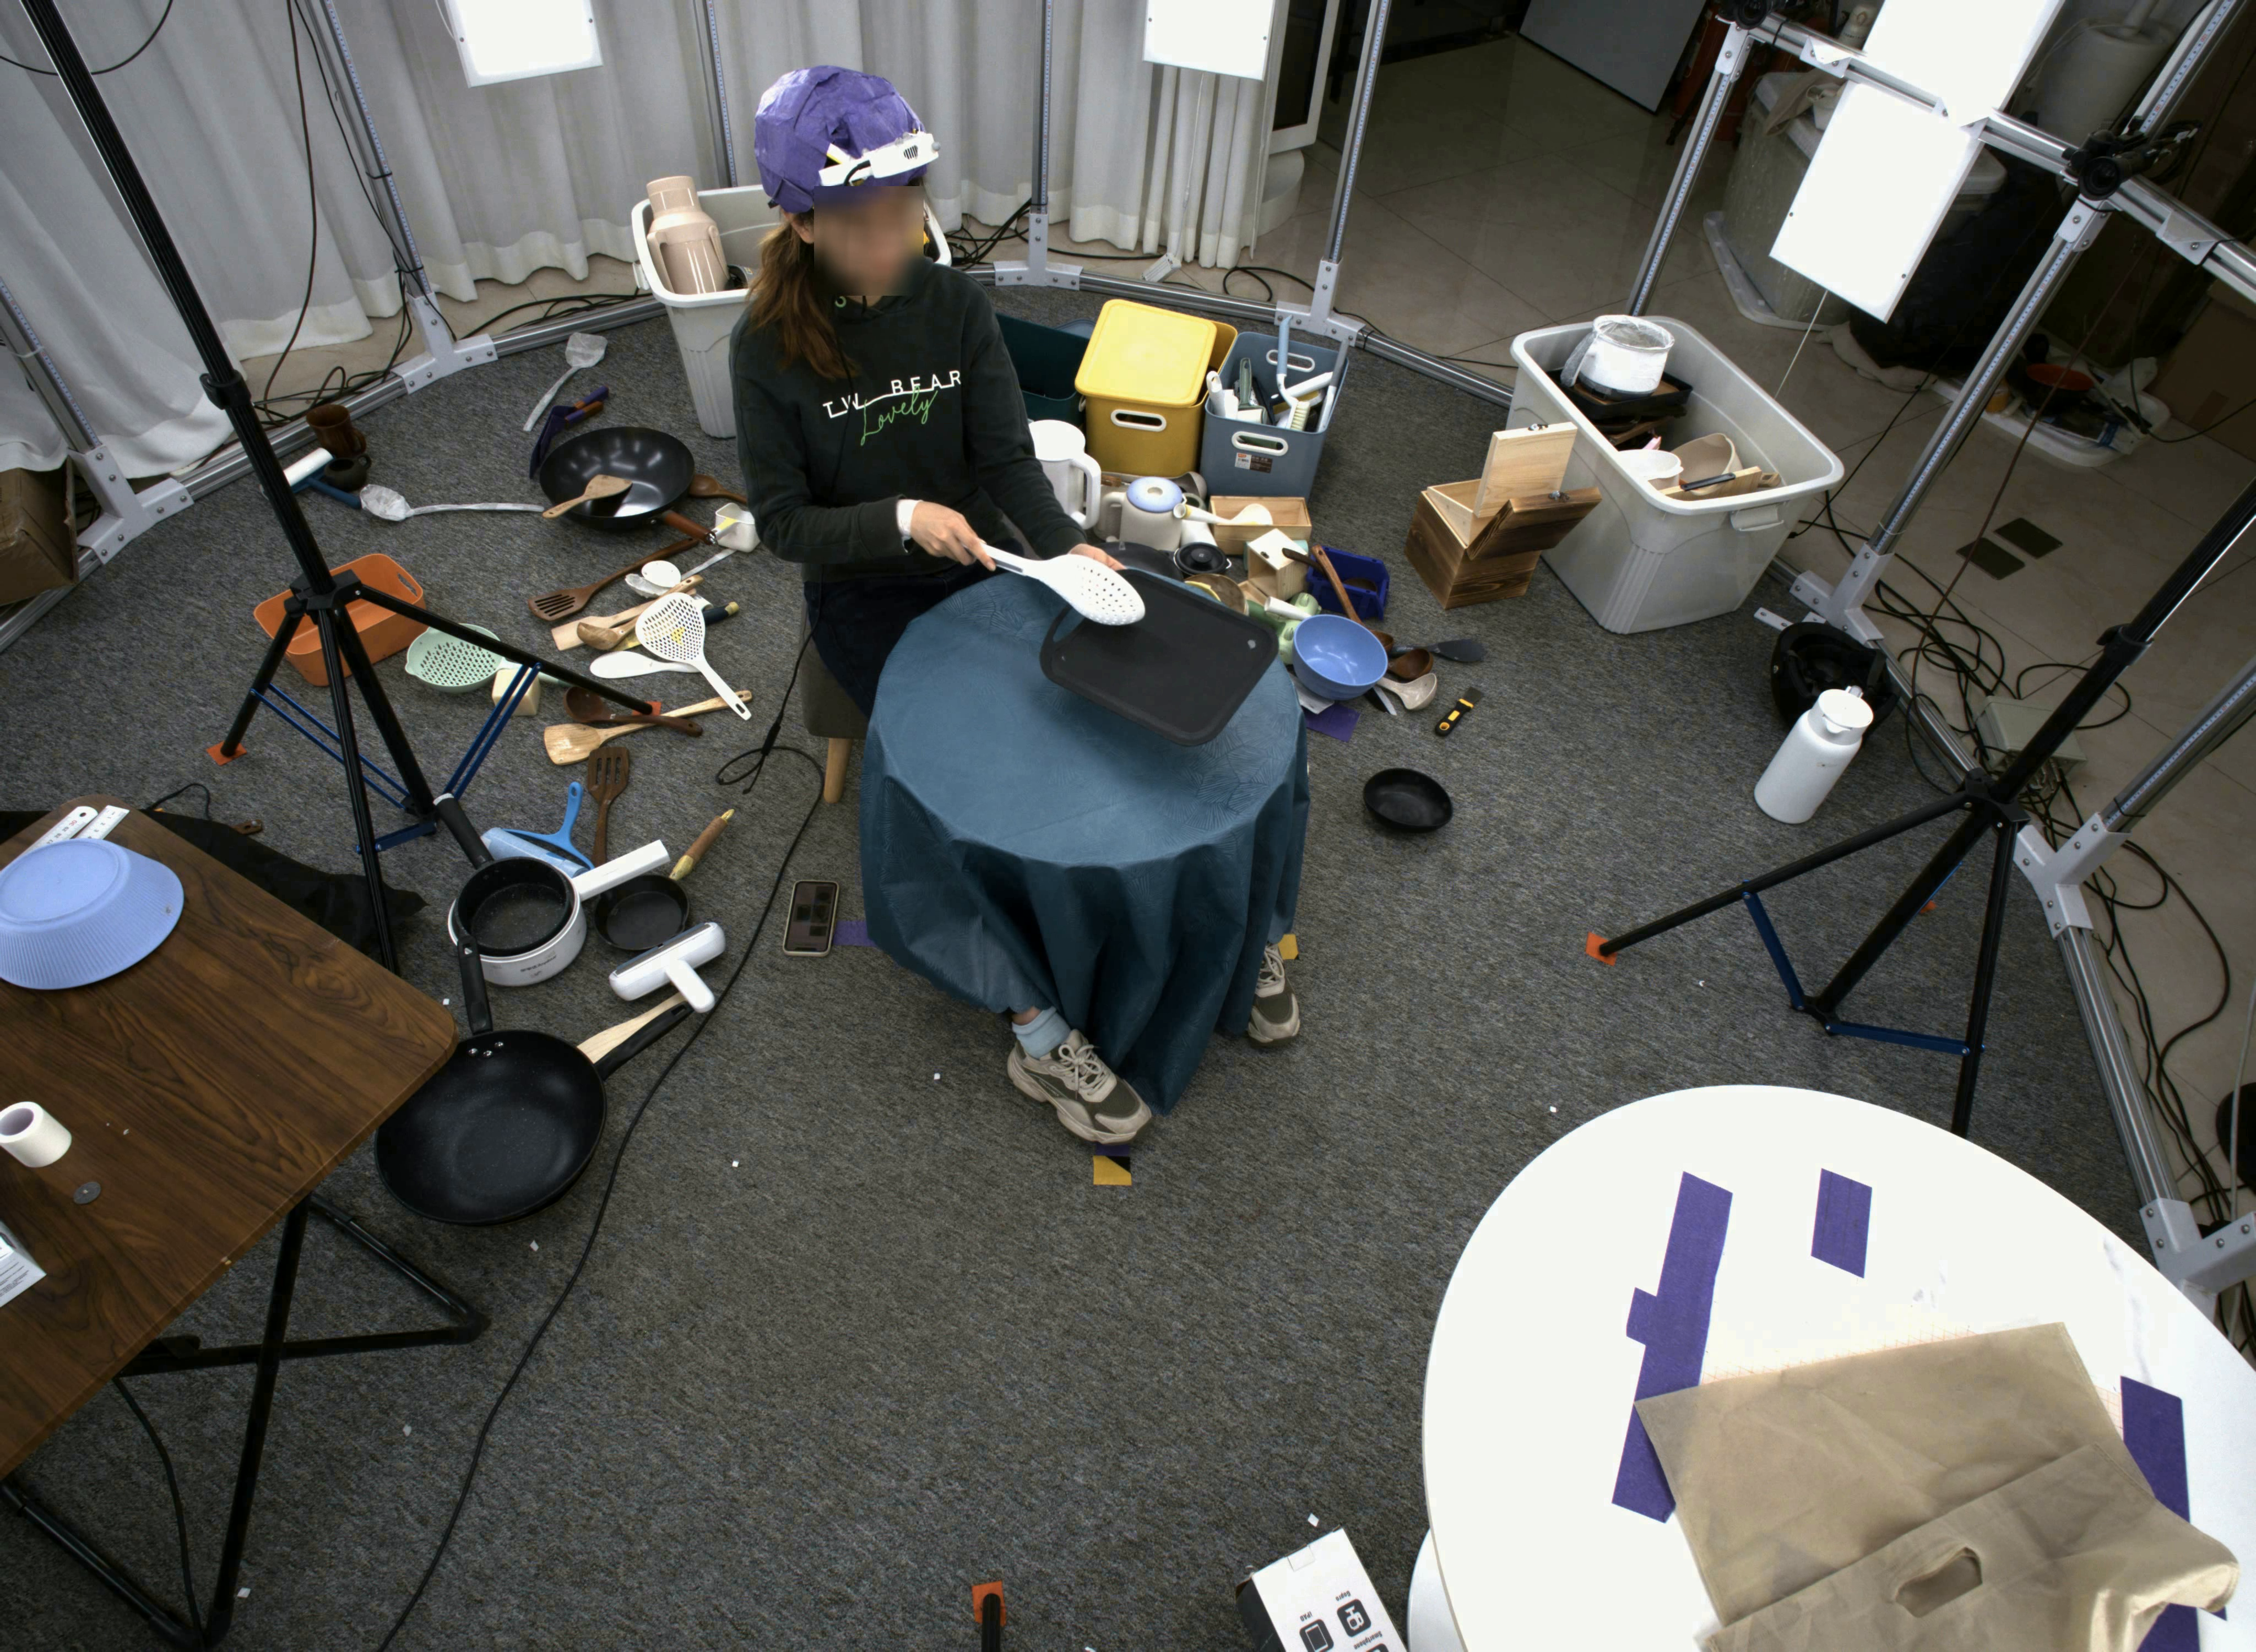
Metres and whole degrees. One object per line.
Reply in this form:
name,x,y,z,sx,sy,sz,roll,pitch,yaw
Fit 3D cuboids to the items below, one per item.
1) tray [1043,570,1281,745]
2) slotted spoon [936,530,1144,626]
tray,0.035,-0.239,1.753,0.330,0.009,0.213,29,72,30
slotted spoon,-0.129,-0.355,1.792,0.354,0.133,0.046,28,71,28
